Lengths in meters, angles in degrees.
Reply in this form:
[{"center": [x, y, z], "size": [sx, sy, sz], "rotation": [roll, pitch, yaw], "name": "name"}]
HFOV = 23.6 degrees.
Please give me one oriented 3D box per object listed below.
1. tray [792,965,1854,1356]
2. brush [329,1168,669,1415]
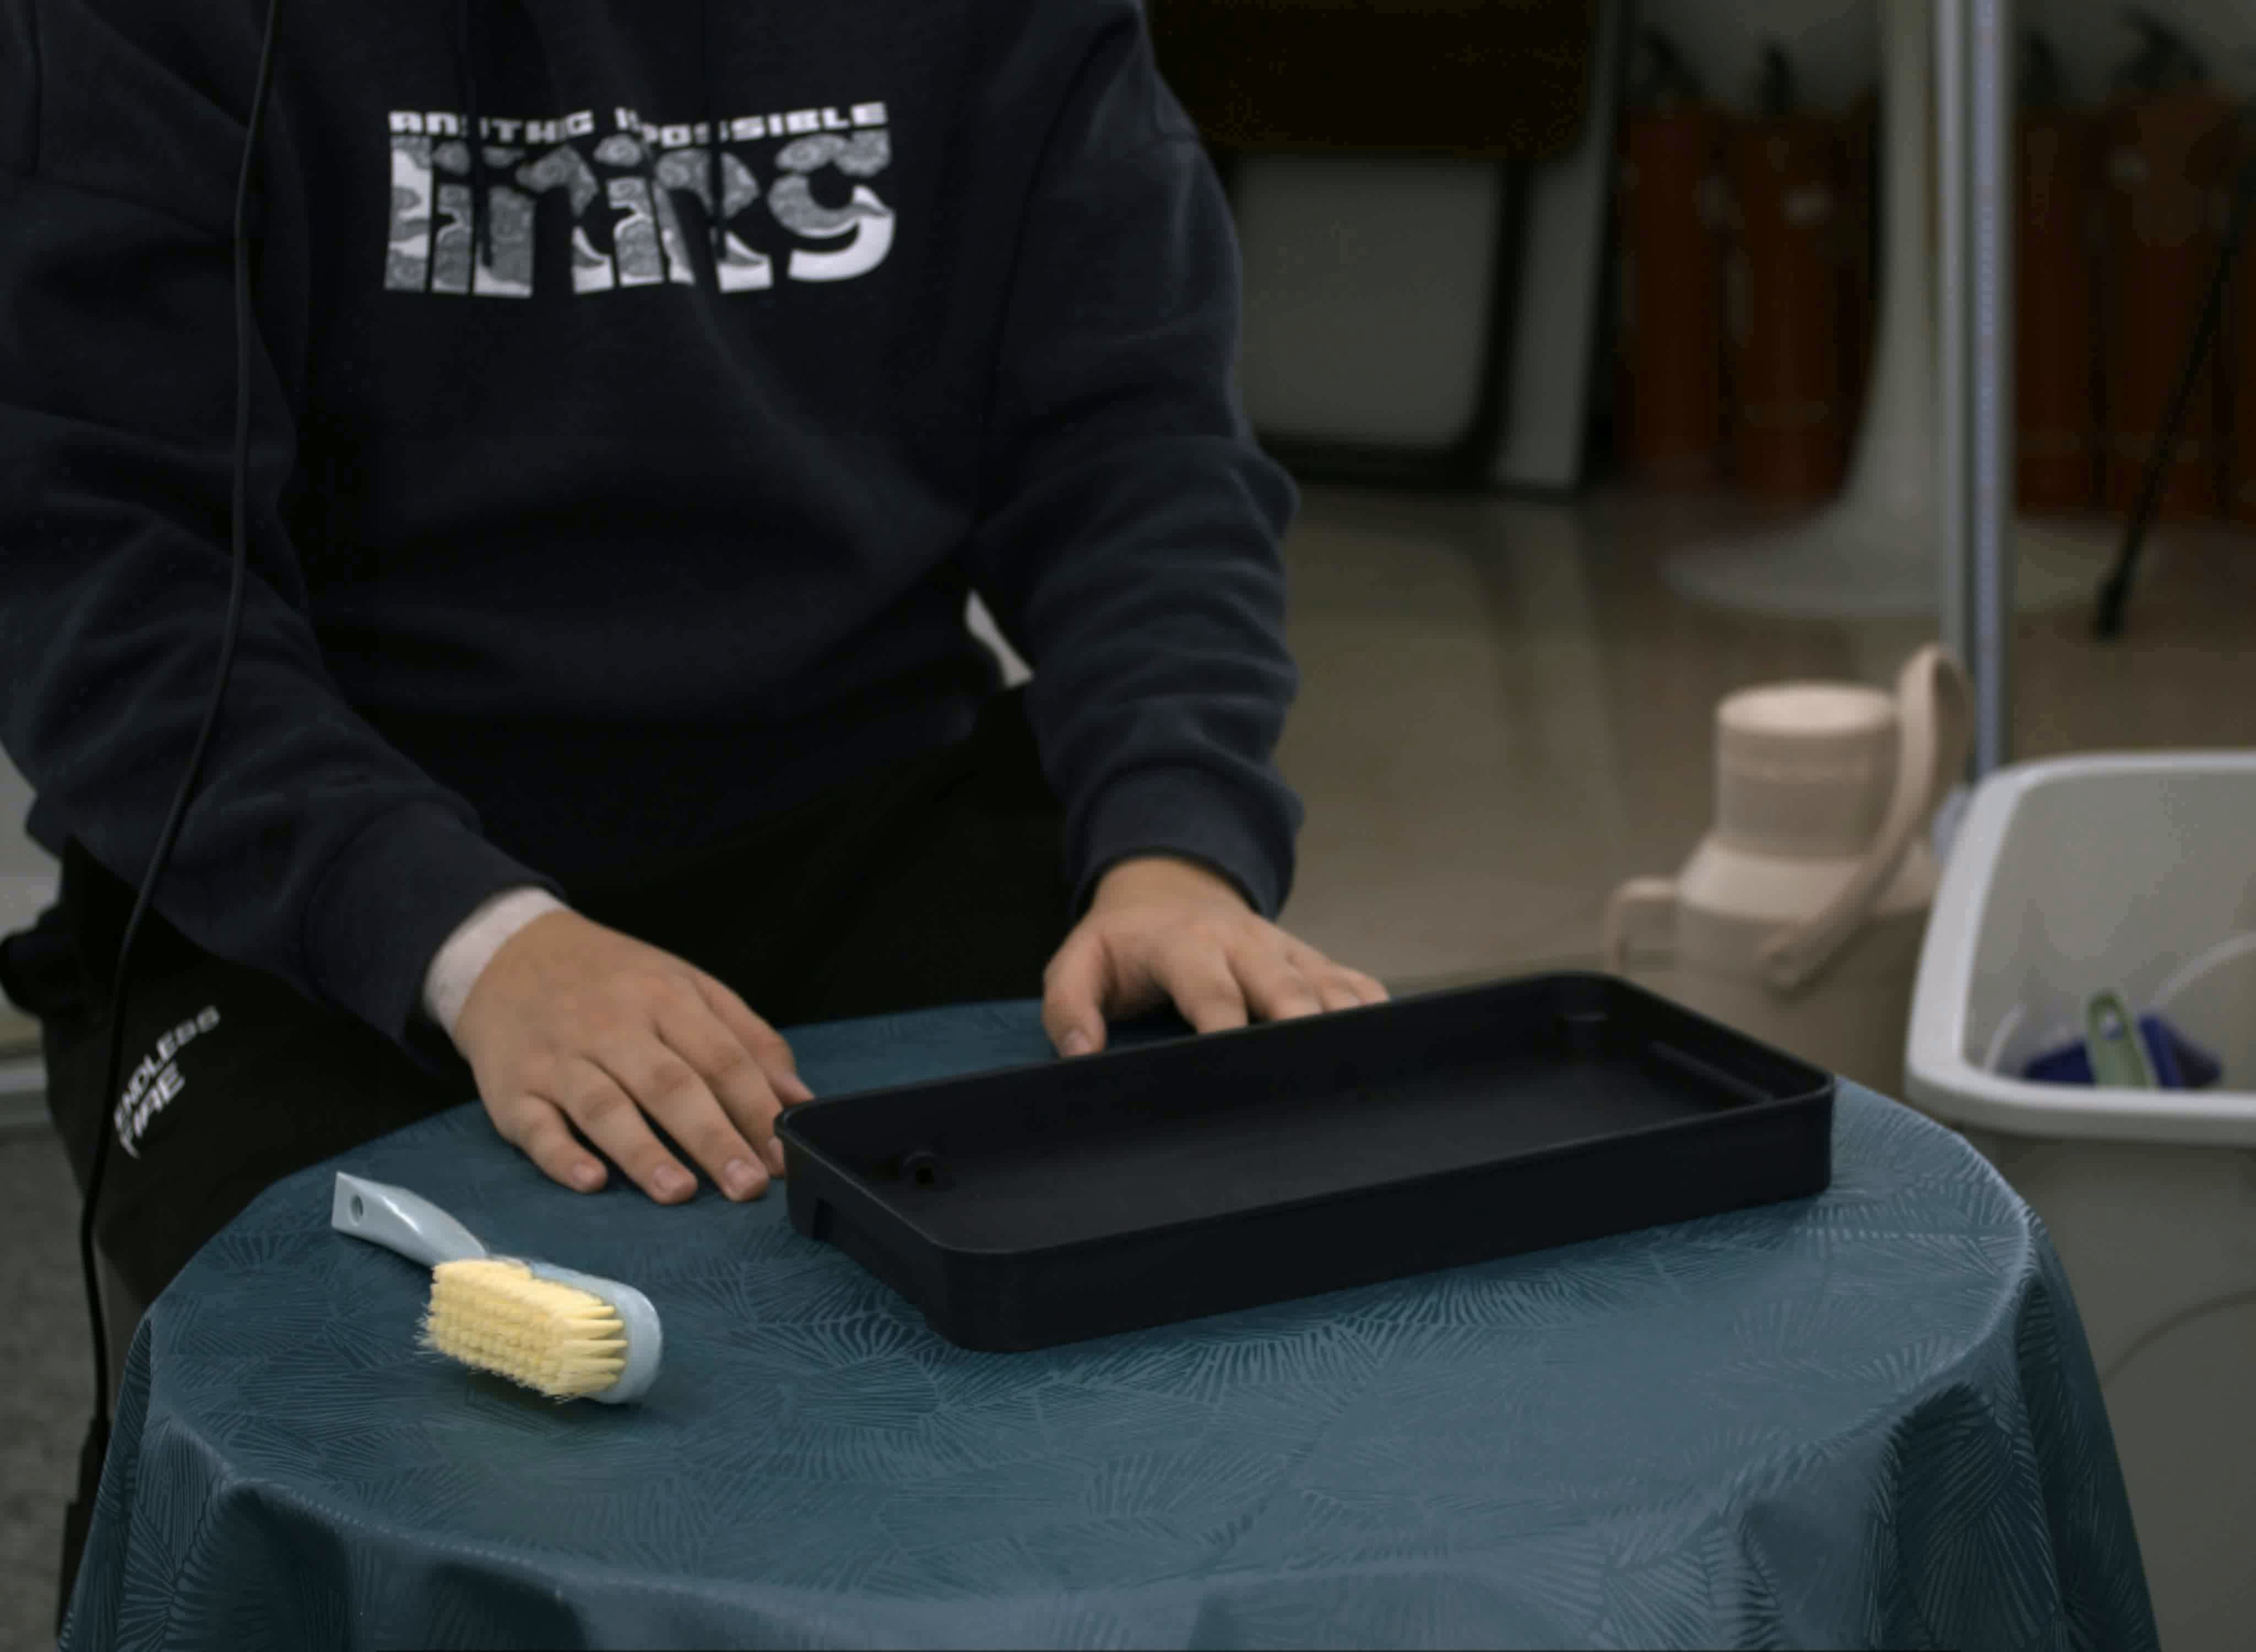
[{"center": [0.064, 0.104, 1.751], "size": [0.311, 0.037, 0.186], "rotation": [-10, 14, -23], "name": "tray"}, {"center": [-0.208, 0.140, 1.679], "size": [0.048, 0.038, 0.231], "rotation": [-2, 12, -28], "name": "brush"}]
